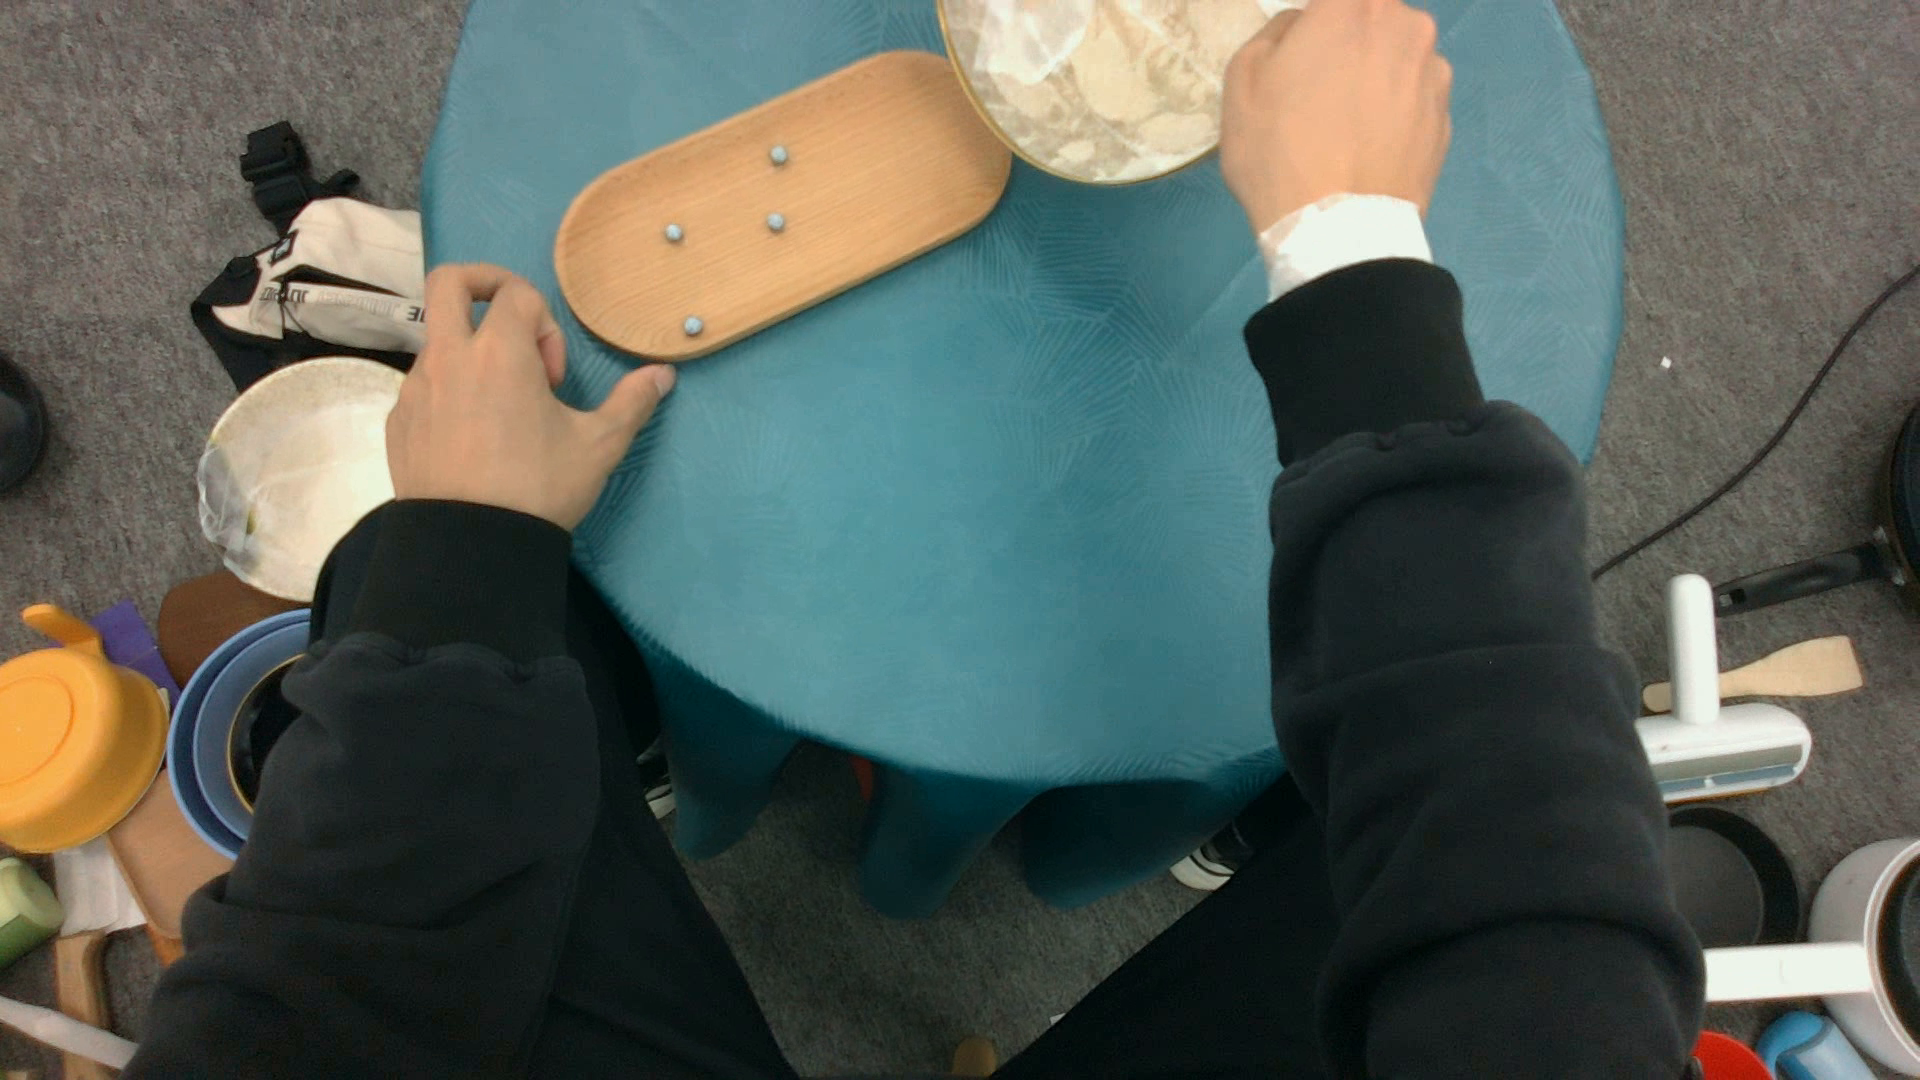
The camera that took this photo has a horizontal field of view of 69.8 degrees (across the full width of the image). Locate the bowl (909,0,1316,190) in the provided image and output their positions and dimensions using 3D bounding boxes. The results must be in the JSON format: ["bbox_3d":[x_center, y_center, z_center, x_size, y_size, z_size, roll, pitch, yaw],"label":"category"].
[{"bbox_3d":[0.077,-0.260,0.605,0.095,0.213,0.215,-19,75,-49],"label":"bowl"}]

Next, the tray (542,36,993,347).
[{"bbox_3d":[-0.090,-0.170,0.669,0.231,0.020,0.102,-28,82,-14],"label":"tray"}]
